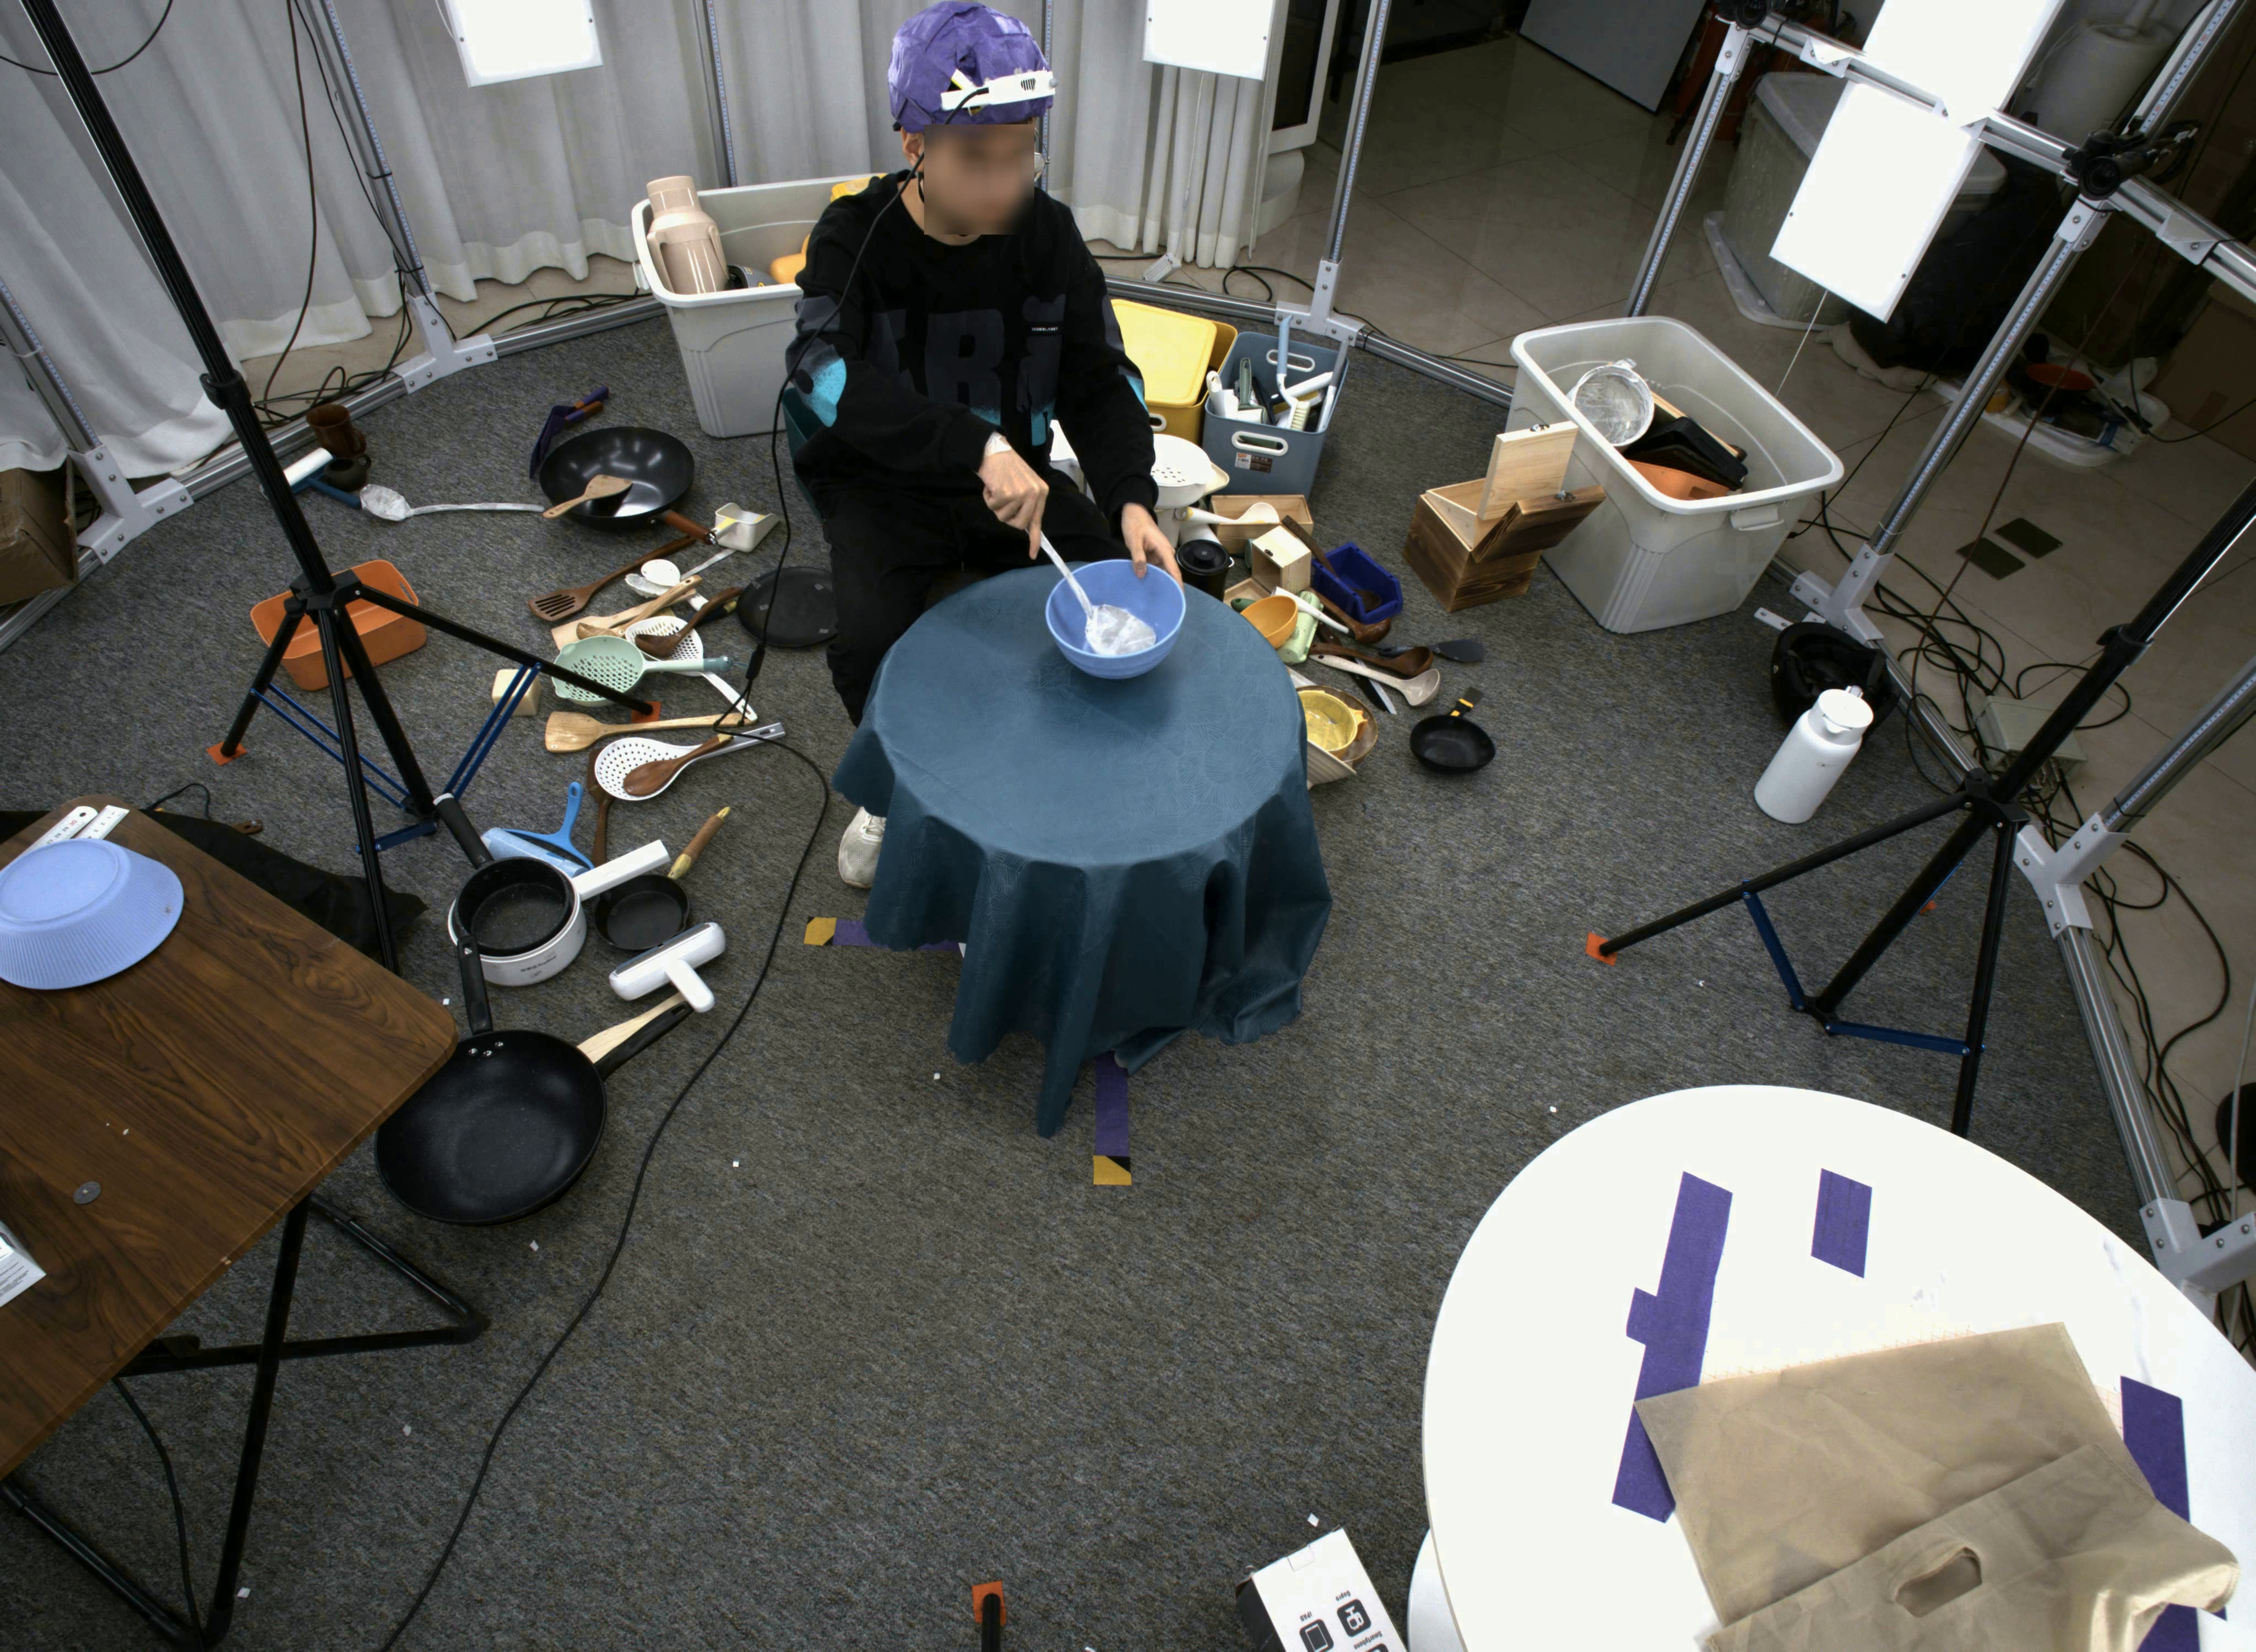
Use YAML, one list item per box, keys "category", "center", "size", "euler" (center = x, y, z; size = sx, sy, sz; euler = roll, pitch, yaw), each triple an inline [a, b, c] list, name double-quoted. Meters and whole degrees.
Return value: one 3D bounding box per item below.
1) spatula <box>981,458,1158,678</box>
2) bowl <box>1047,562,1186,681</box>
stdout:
- category: "spatula"
  center: [-0.086, -0.360, 1.792]
  size: [0.045, 0.359, 0.100]
  euler: [-8, 38, 48]
- category: "bowl"
  center: [-0.014, -0.279, 1.847]
  size: [0.196, 0.093, 0.201]
  euler: [-2, 53, 3]
